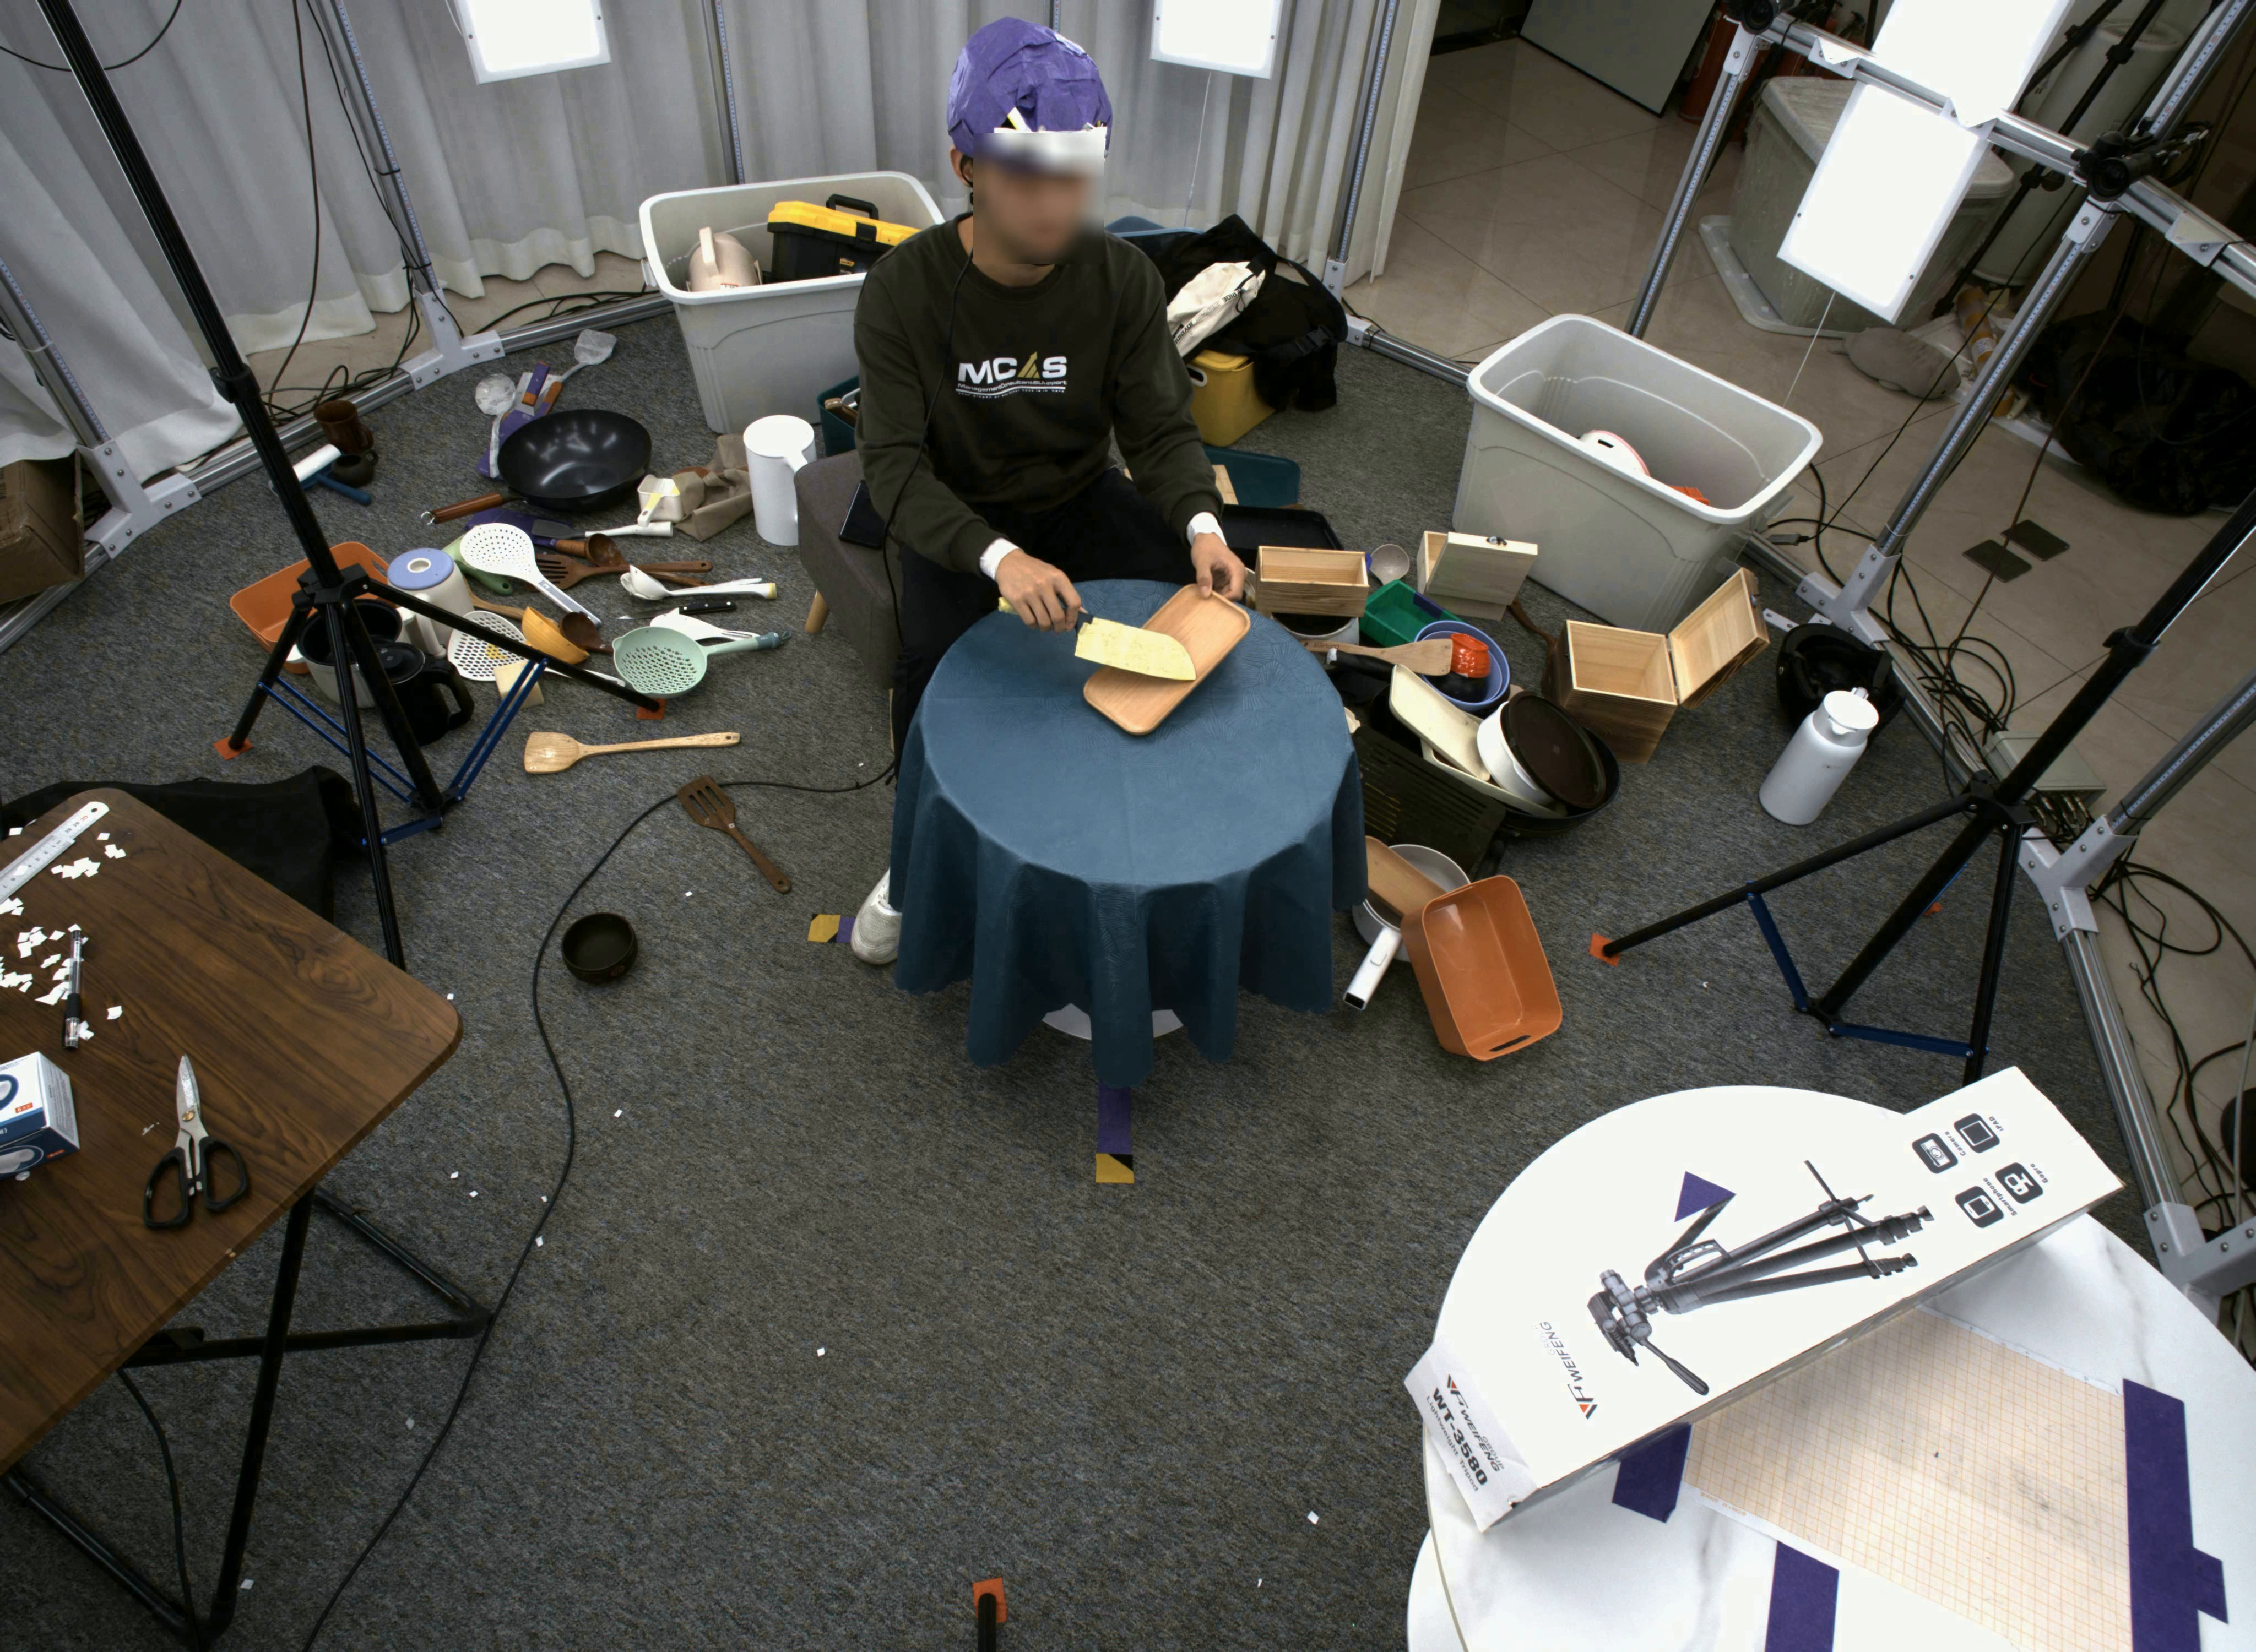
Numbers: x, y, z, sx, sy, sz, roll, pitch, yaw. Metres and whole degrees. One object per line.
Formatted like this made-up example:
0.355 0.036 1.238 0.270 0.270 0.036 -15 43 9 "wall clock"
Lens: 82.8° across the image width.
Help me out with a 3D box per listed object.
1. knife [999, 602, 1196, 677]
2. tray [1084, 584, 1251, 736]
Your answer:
-0.044 -0.262 1.799 0.289 0.026 0.082 15 60 0 "knife"
0.058 -0.237 1.821 0.132 0.022 0.252 36 74 27 "tray"
